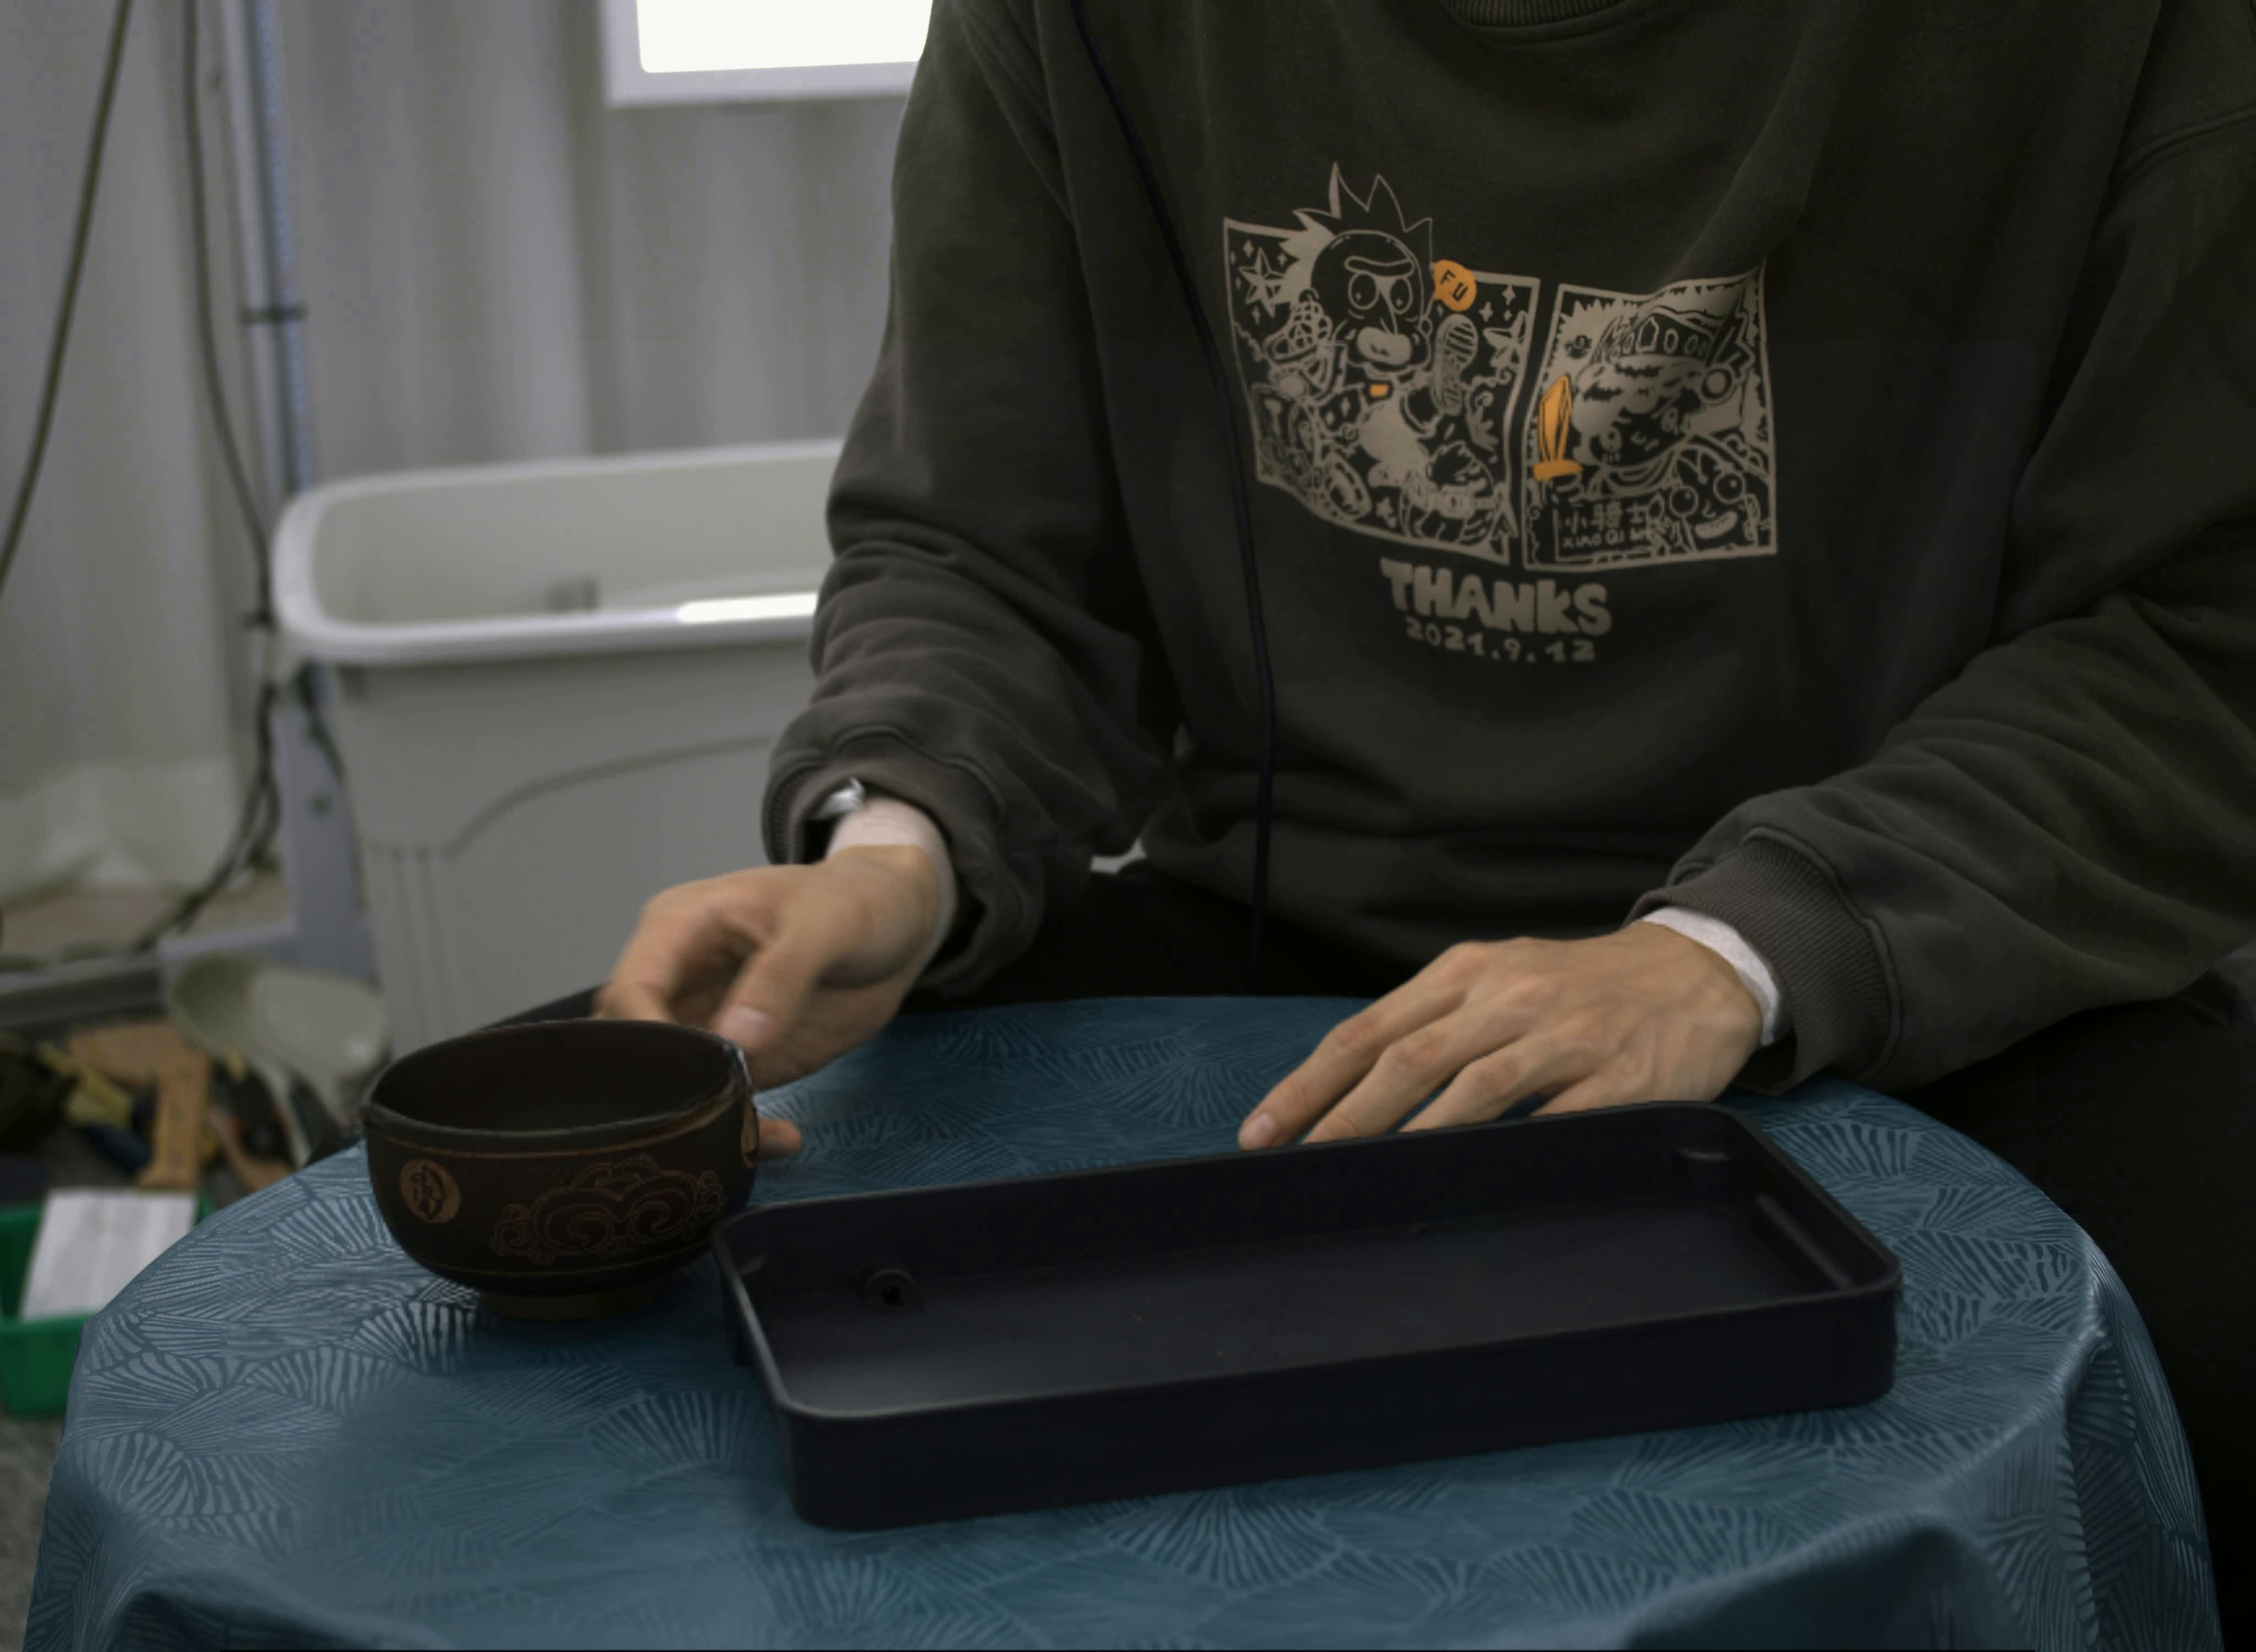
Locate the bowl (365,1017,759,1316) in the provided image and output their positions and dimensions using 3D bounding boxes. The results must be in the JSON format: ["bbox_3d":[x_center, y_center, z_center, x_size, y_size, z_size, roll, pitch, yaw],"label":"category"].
[{"bbox_3d":[-0.169,0.106,1.649,0.117,0.069,0.119,-2,13,0],"label":"bowl"}]

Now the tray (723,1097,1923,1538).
[{"bbox_3d":[0.052,0.137,1.564,0.316,0.037,0.186,-7,15,-12],"label":"tray"}]
